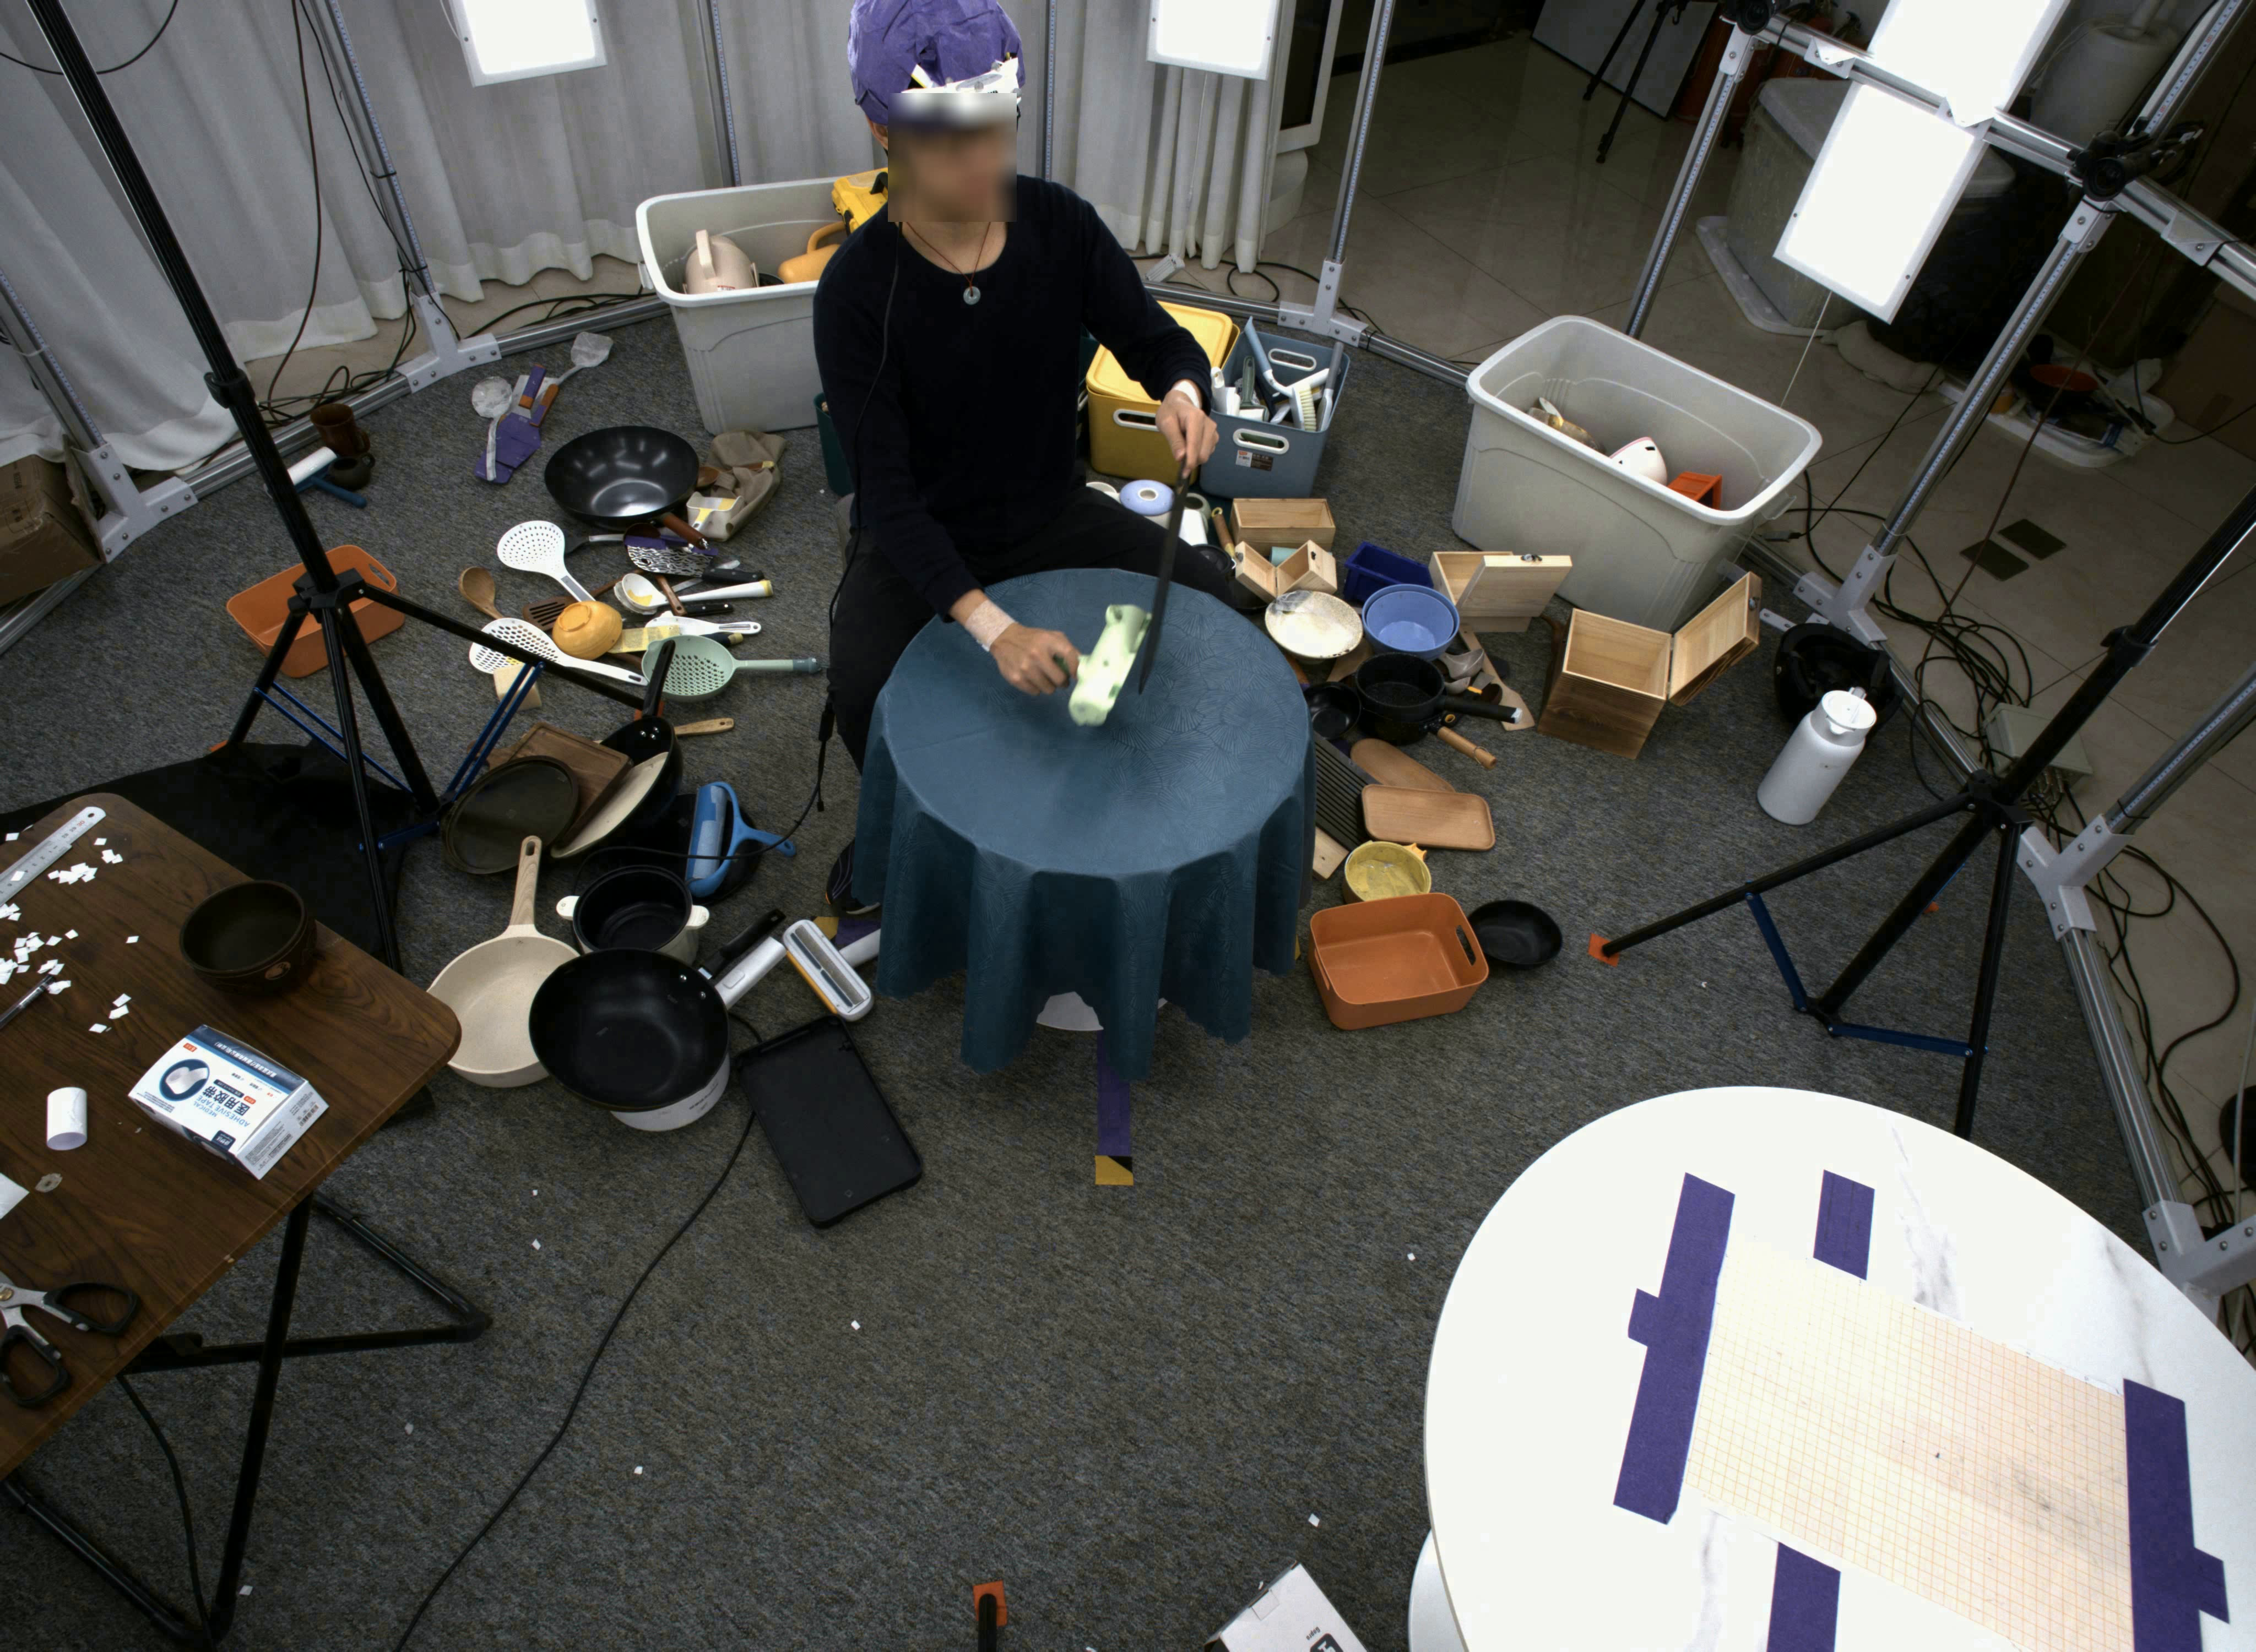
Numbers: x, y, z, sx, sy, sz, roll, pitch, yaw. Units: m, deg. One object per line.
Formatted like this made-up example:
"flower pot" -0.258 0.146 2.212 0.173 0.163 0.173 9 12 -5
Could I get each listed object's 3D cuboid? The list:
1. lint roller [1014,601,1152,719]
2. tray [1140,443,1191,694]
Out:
"lint roller" -0.076 -0.232 1.718 0.184 0.080 0.203 5 45 20
"tray" 0.053 -0.348 1.736 0.010 0.320 0.214 11 22 5
